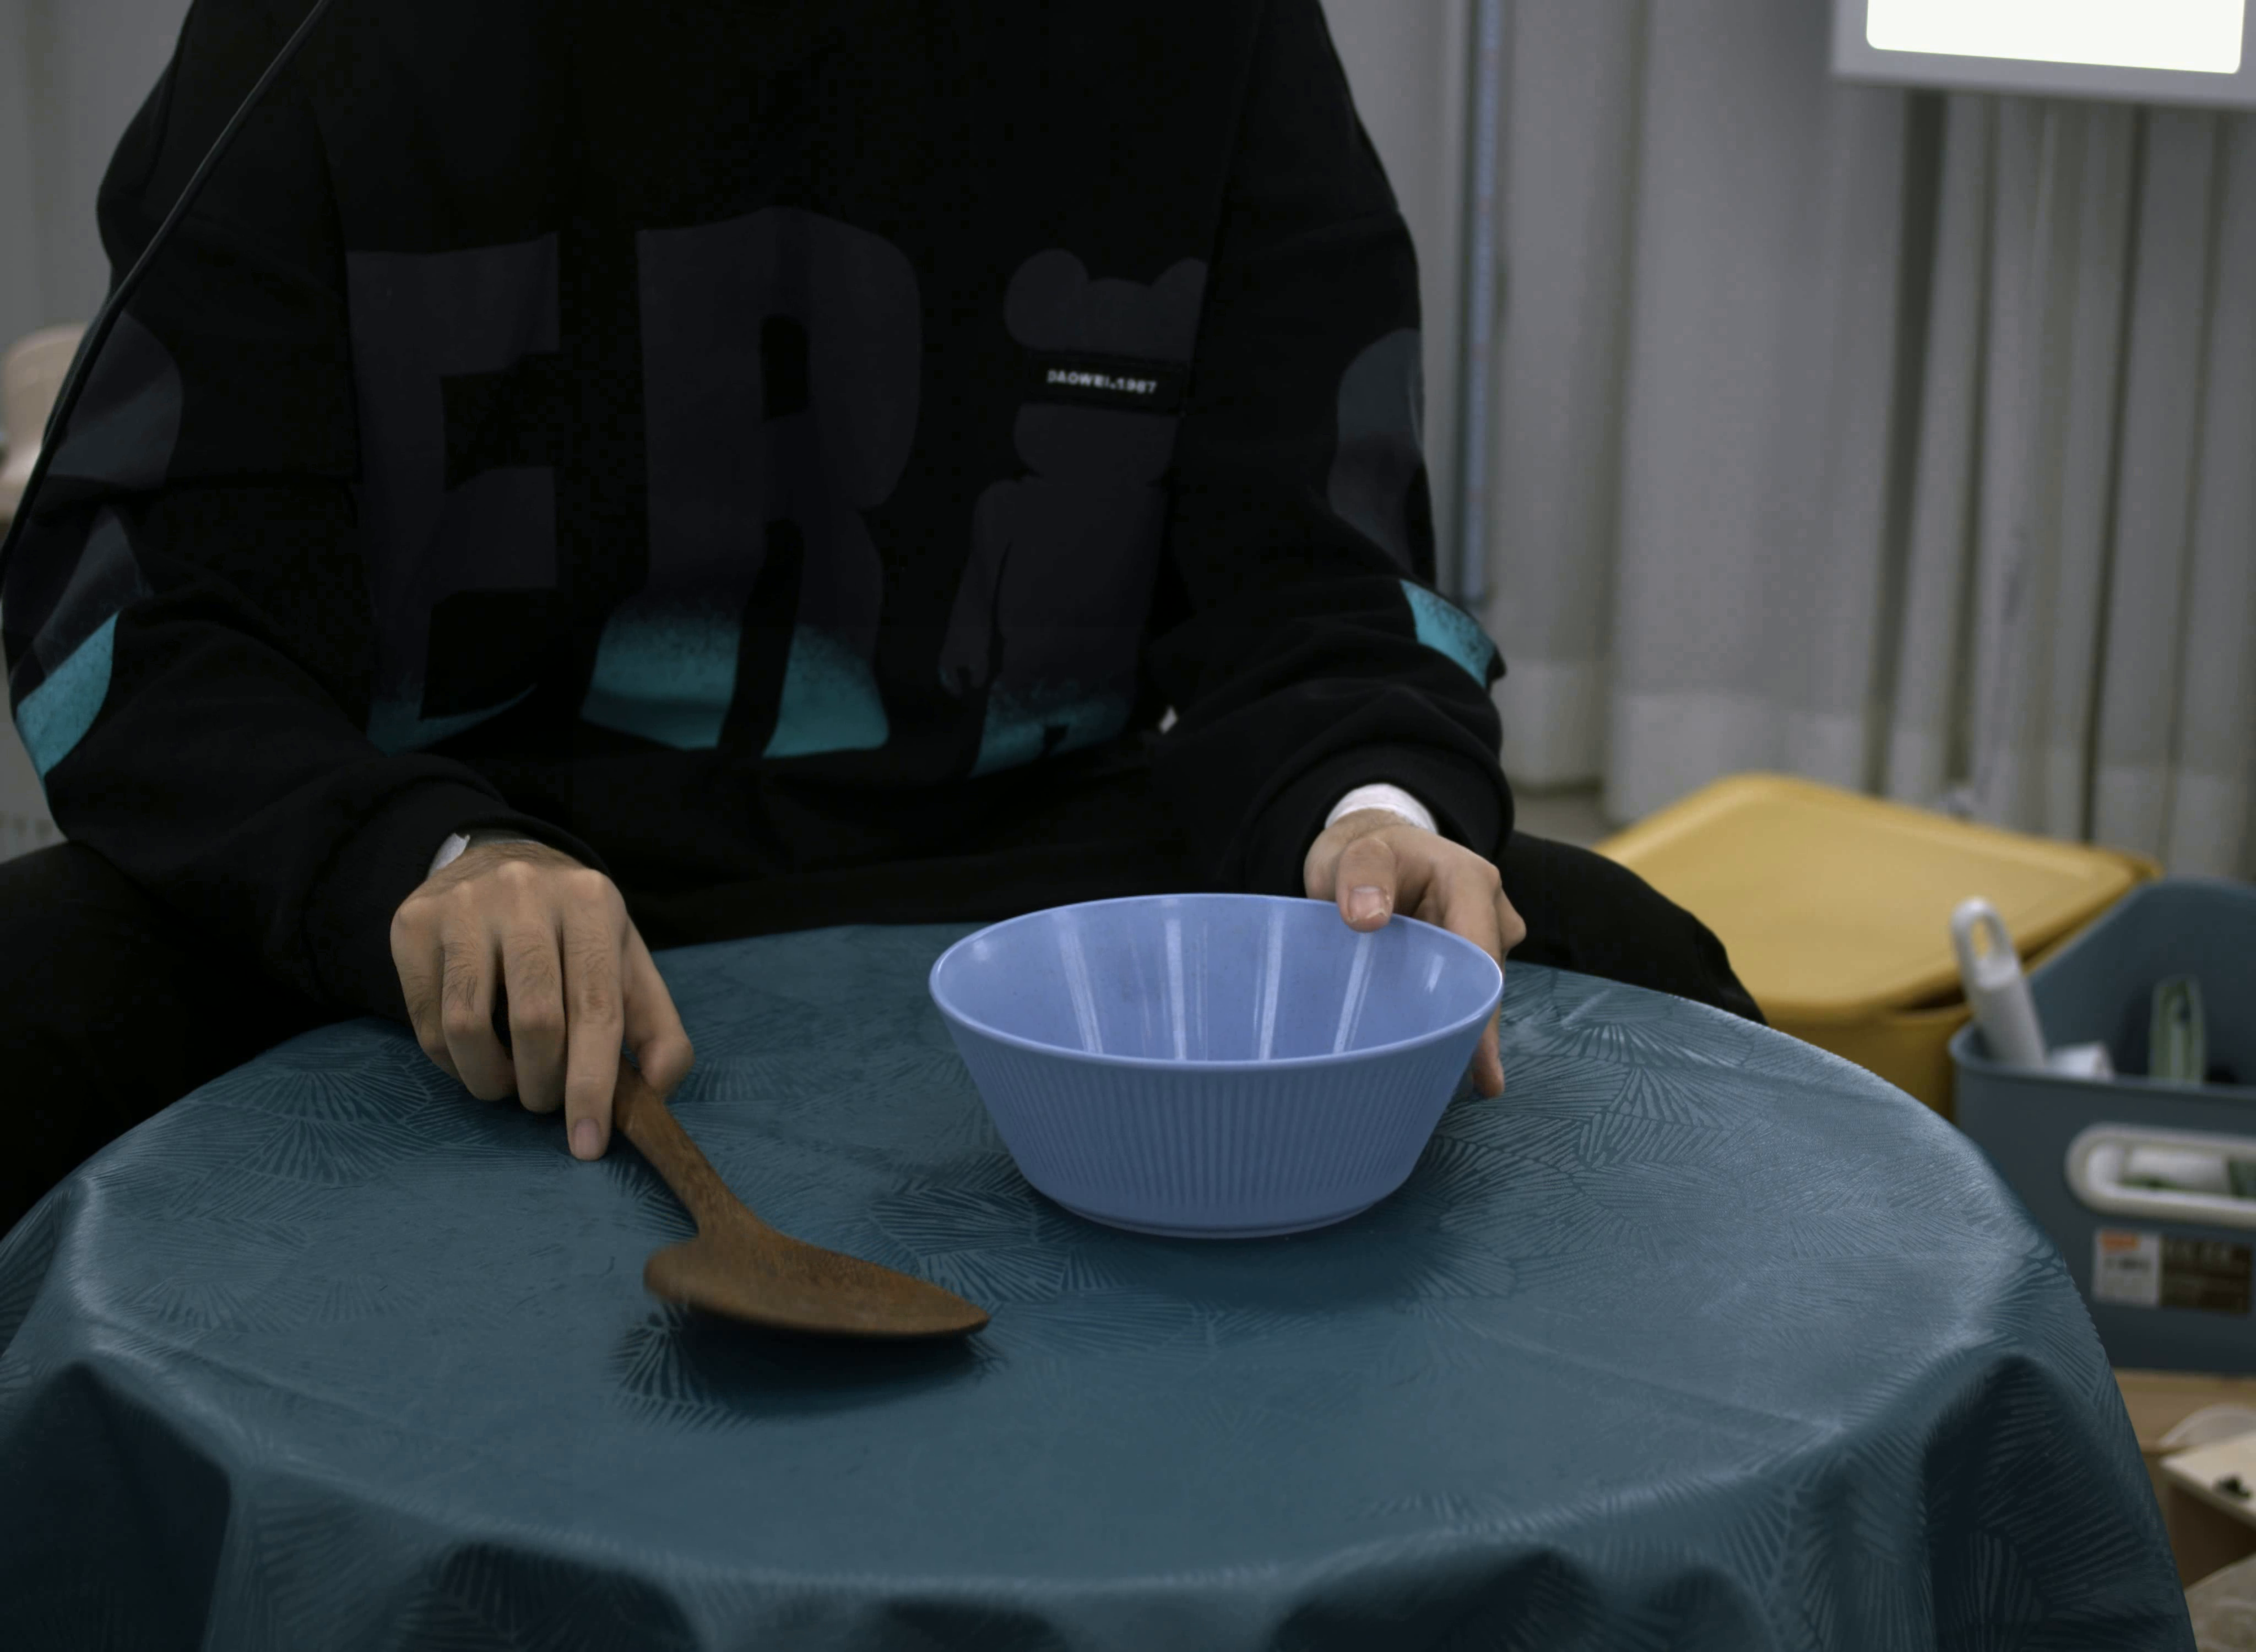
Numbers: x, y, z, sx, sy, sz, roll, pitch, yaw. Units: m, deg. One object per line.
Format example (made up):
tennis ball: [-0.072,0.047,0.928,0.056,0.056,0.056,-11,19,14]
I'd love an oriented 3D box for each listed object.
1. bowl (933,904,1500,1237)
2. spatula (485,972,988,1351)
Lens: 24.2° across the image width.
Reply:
bowl: [0.027,0.077,1.624,0.175,0.071,0.175,1,15,0]
spatula: [-0.143,0.097,1.628,0.096,0.016,0.381,9,10,-23]
